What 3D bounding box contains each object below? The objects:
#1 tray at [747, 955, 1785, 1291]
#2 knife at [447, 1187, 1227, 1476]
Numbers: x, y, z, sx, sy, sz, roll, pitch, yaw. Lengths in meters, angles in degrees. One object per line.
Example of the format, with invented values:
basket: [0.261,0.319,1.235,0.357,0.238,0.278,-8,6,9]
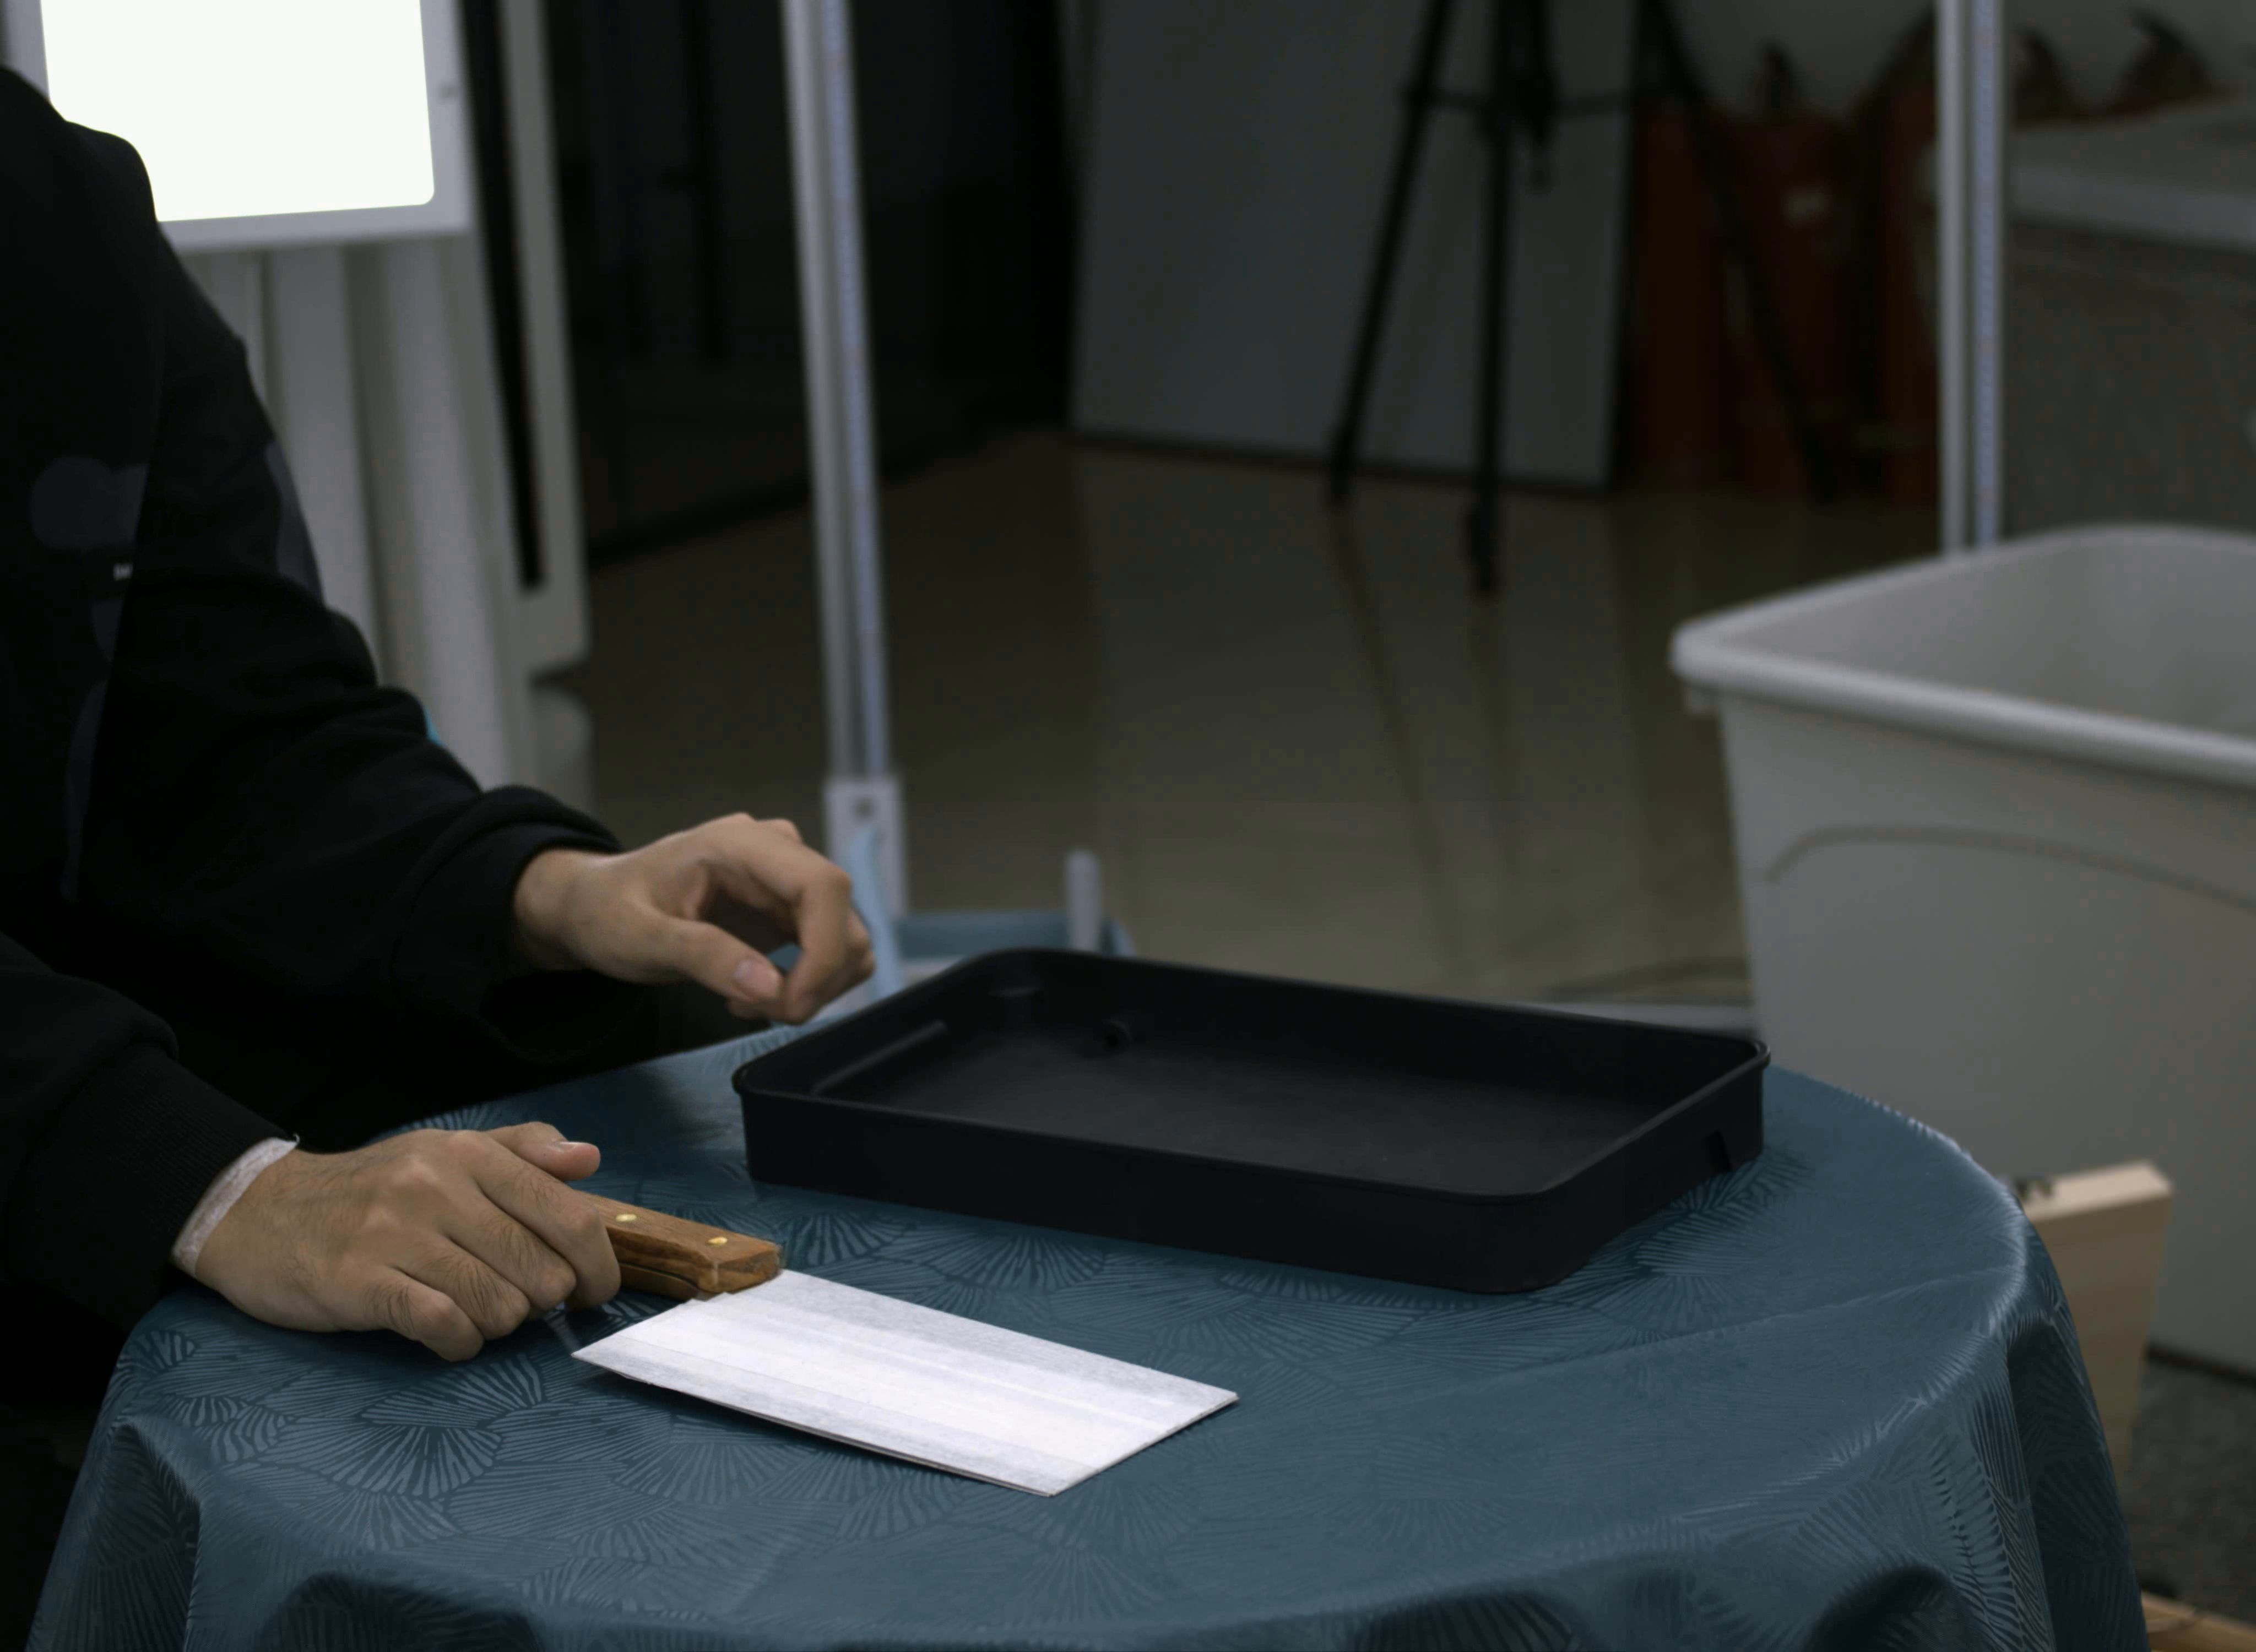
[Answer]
tray: [0.045,0.095,1.788,0.319,0.037,0.181,4,17,32]
knife: [-0.110,0.155,1.636,0.308,0.021,0.091,10,21,39]
